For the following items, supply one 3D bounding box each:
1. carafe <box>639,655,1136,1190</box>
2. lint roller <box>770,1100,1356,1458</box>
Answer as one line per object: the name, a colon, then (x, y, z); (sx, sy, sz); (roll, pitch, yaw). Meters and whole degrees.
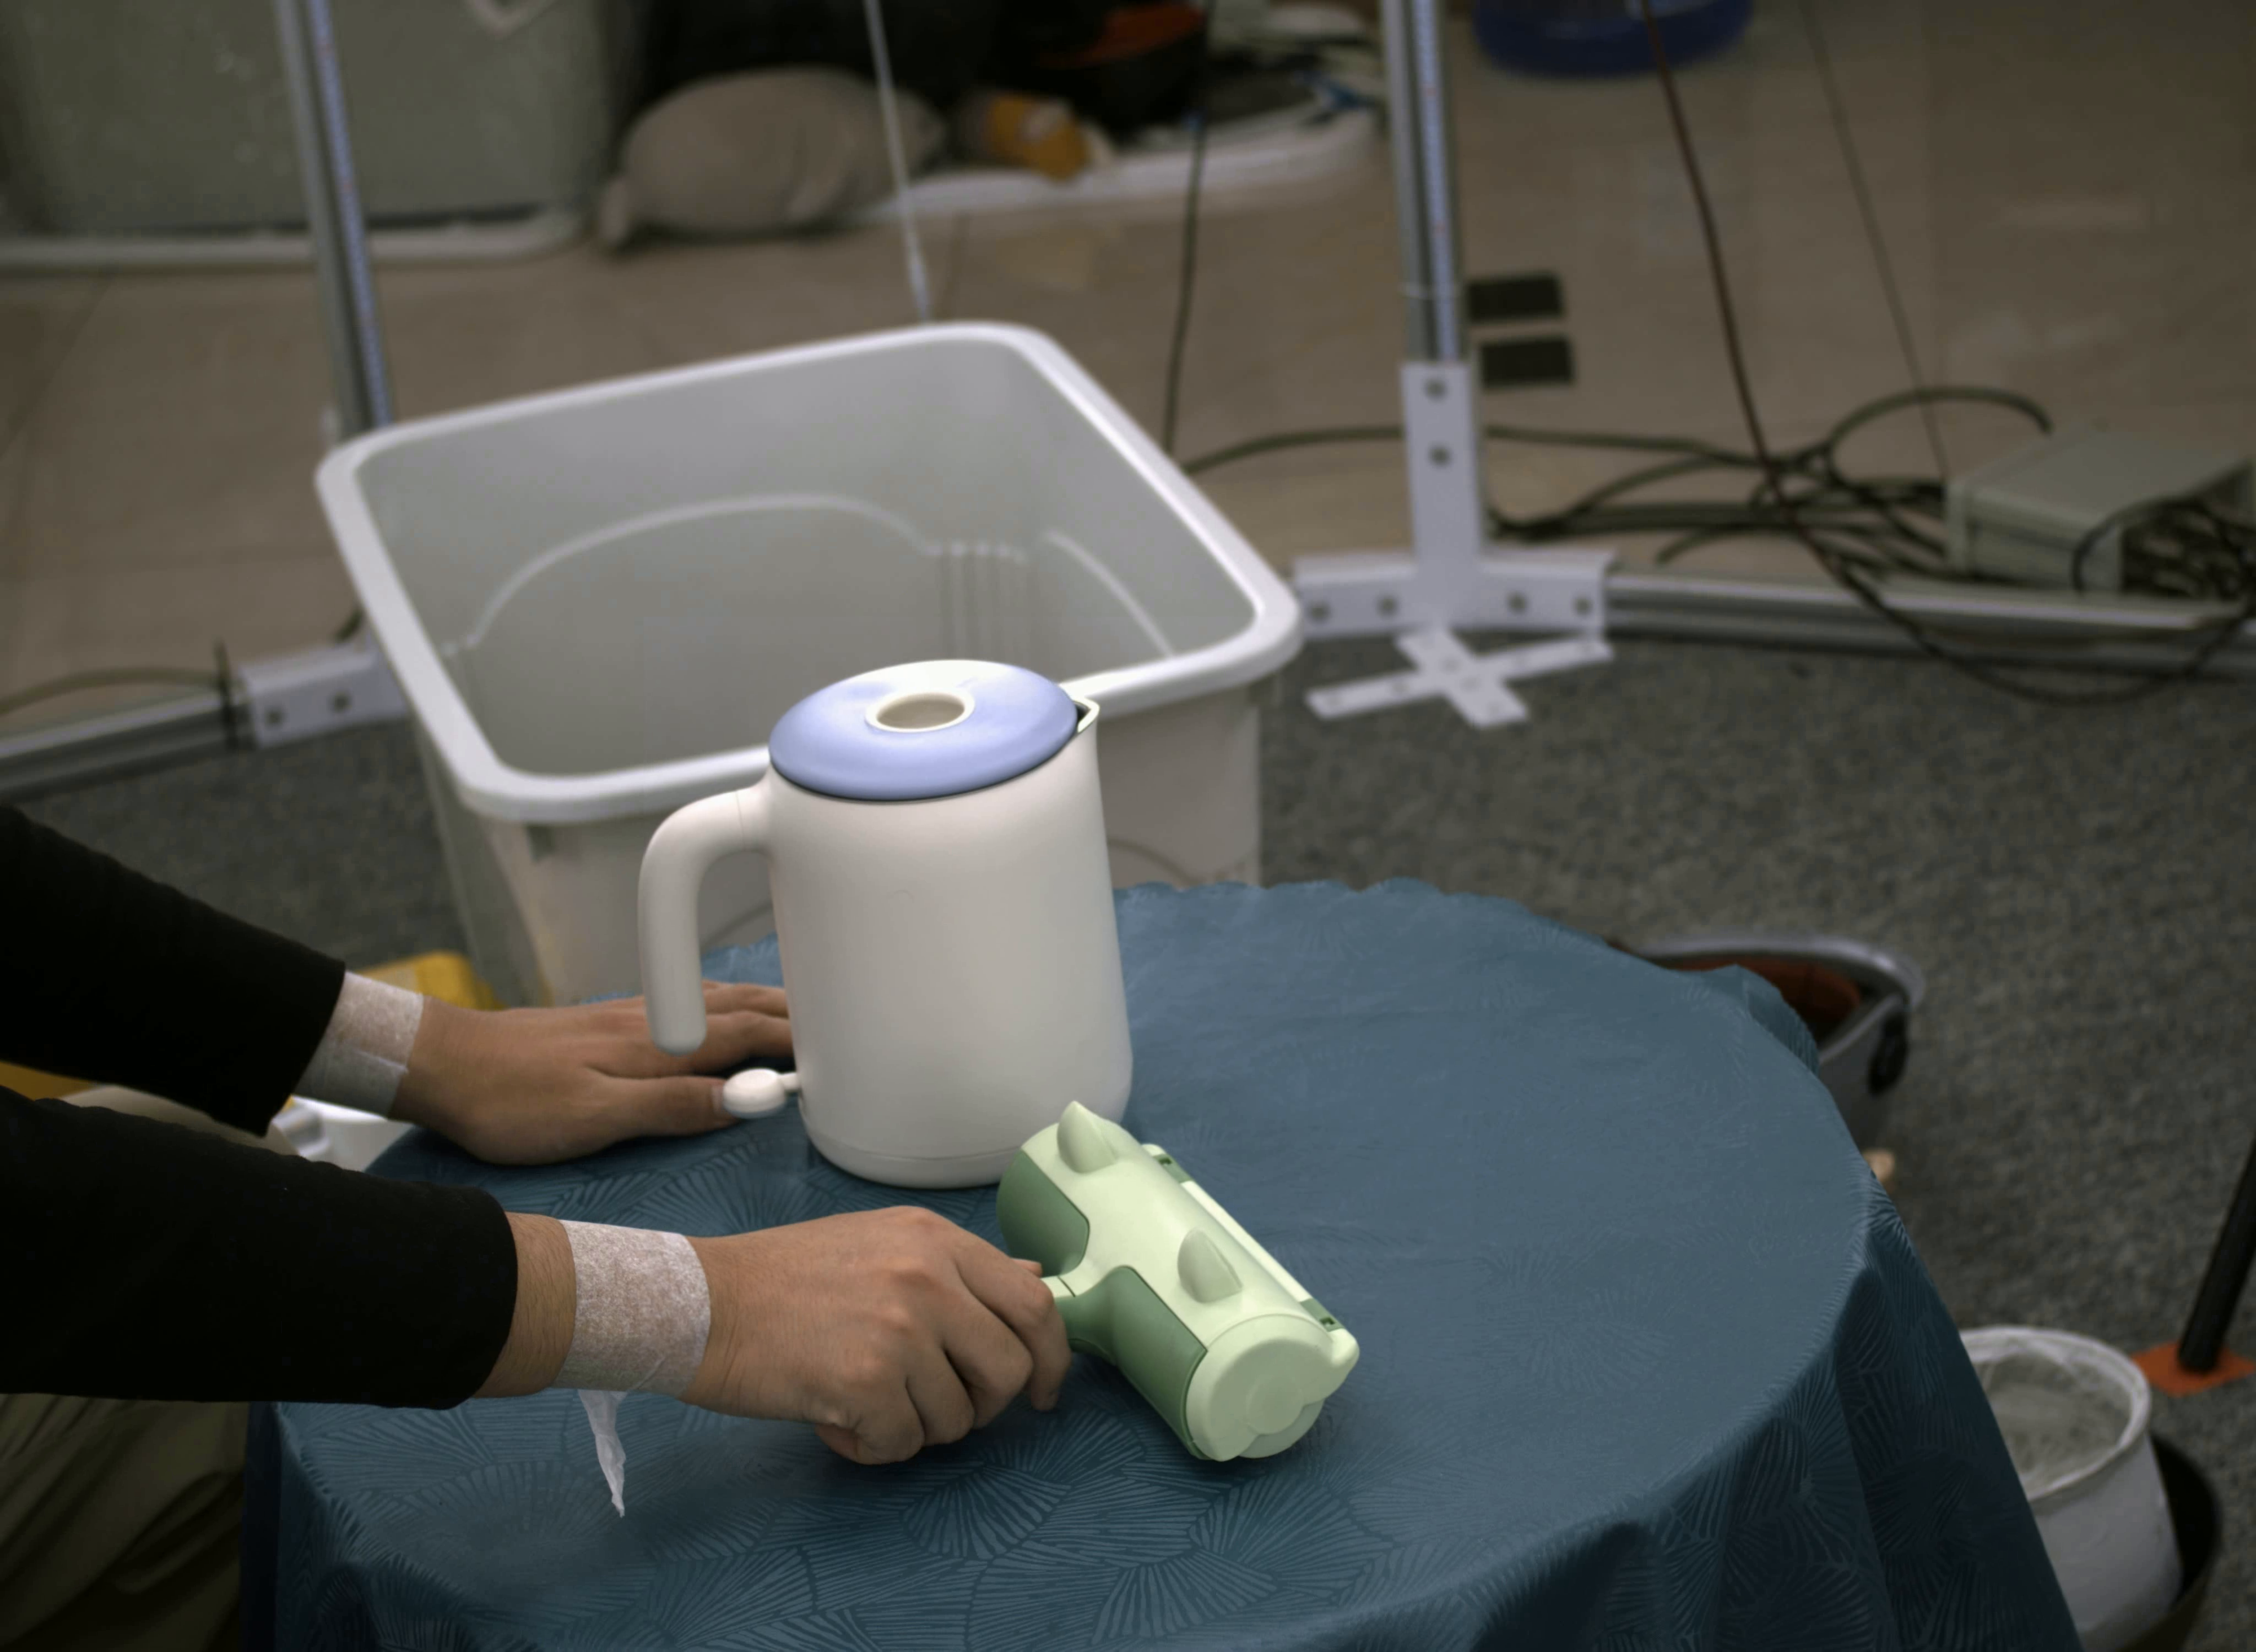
carafe: (-0.093, 0.041, 2.174); (0.190, 0.185, 0.130); (-12, 26, -7)
lint roller: (-0.039, 0.162, 2.004); (0.183, 0.083, 0.196); (-6, 22, -21)
